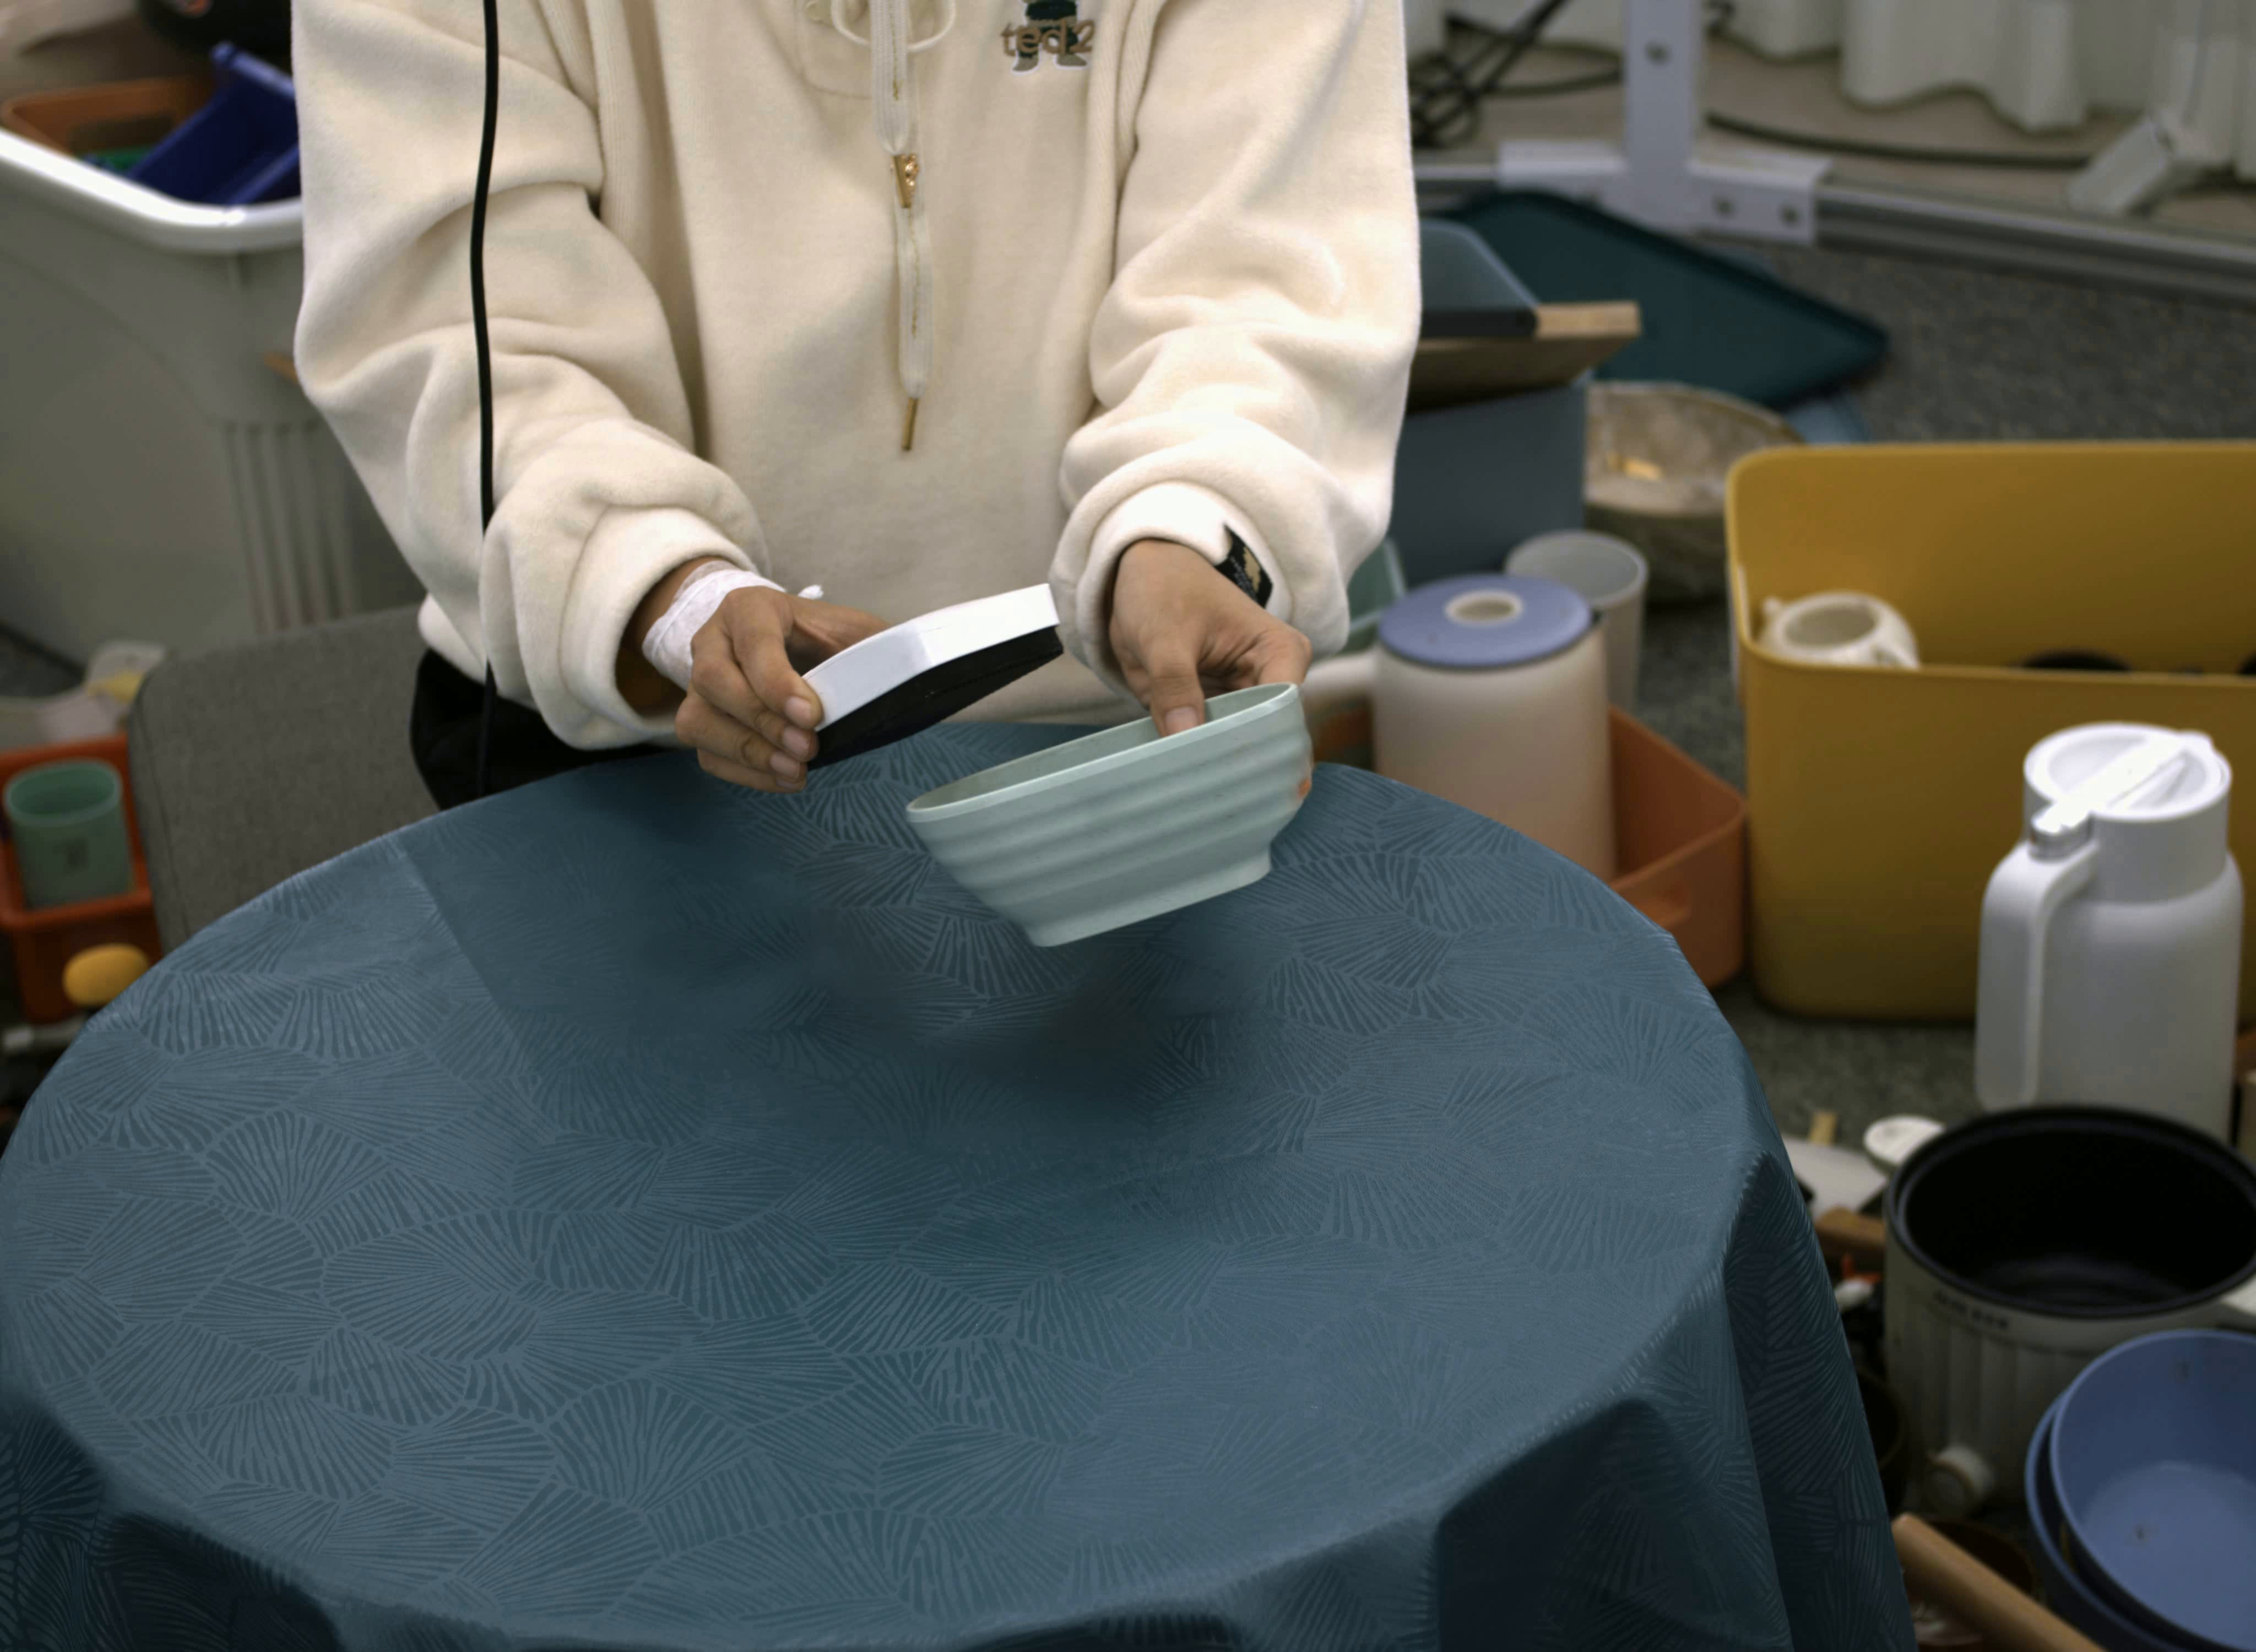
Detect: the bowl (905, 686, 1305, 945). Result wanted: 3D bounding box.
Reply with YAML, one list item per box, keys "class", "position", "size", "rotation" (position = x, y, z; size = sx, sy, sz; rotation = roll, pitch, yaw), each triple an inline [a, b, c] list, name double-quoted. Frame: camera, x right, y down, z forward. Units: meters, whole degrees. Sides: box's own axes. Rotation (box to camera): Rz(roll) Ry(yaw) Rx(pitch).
- class: "bowl"
  position: [-0.001, 0.000, 1.893]
  size: [0.151, 0.059, 0.152]
  rotation: [-15, 6, 2]

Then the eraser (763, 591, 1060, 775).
- class: "eraser"
  position: [-0.074, -0.052, 1.931]
  size: [0.064, 0.035, 0.129]
  rotation: [-19, -3, -32]
